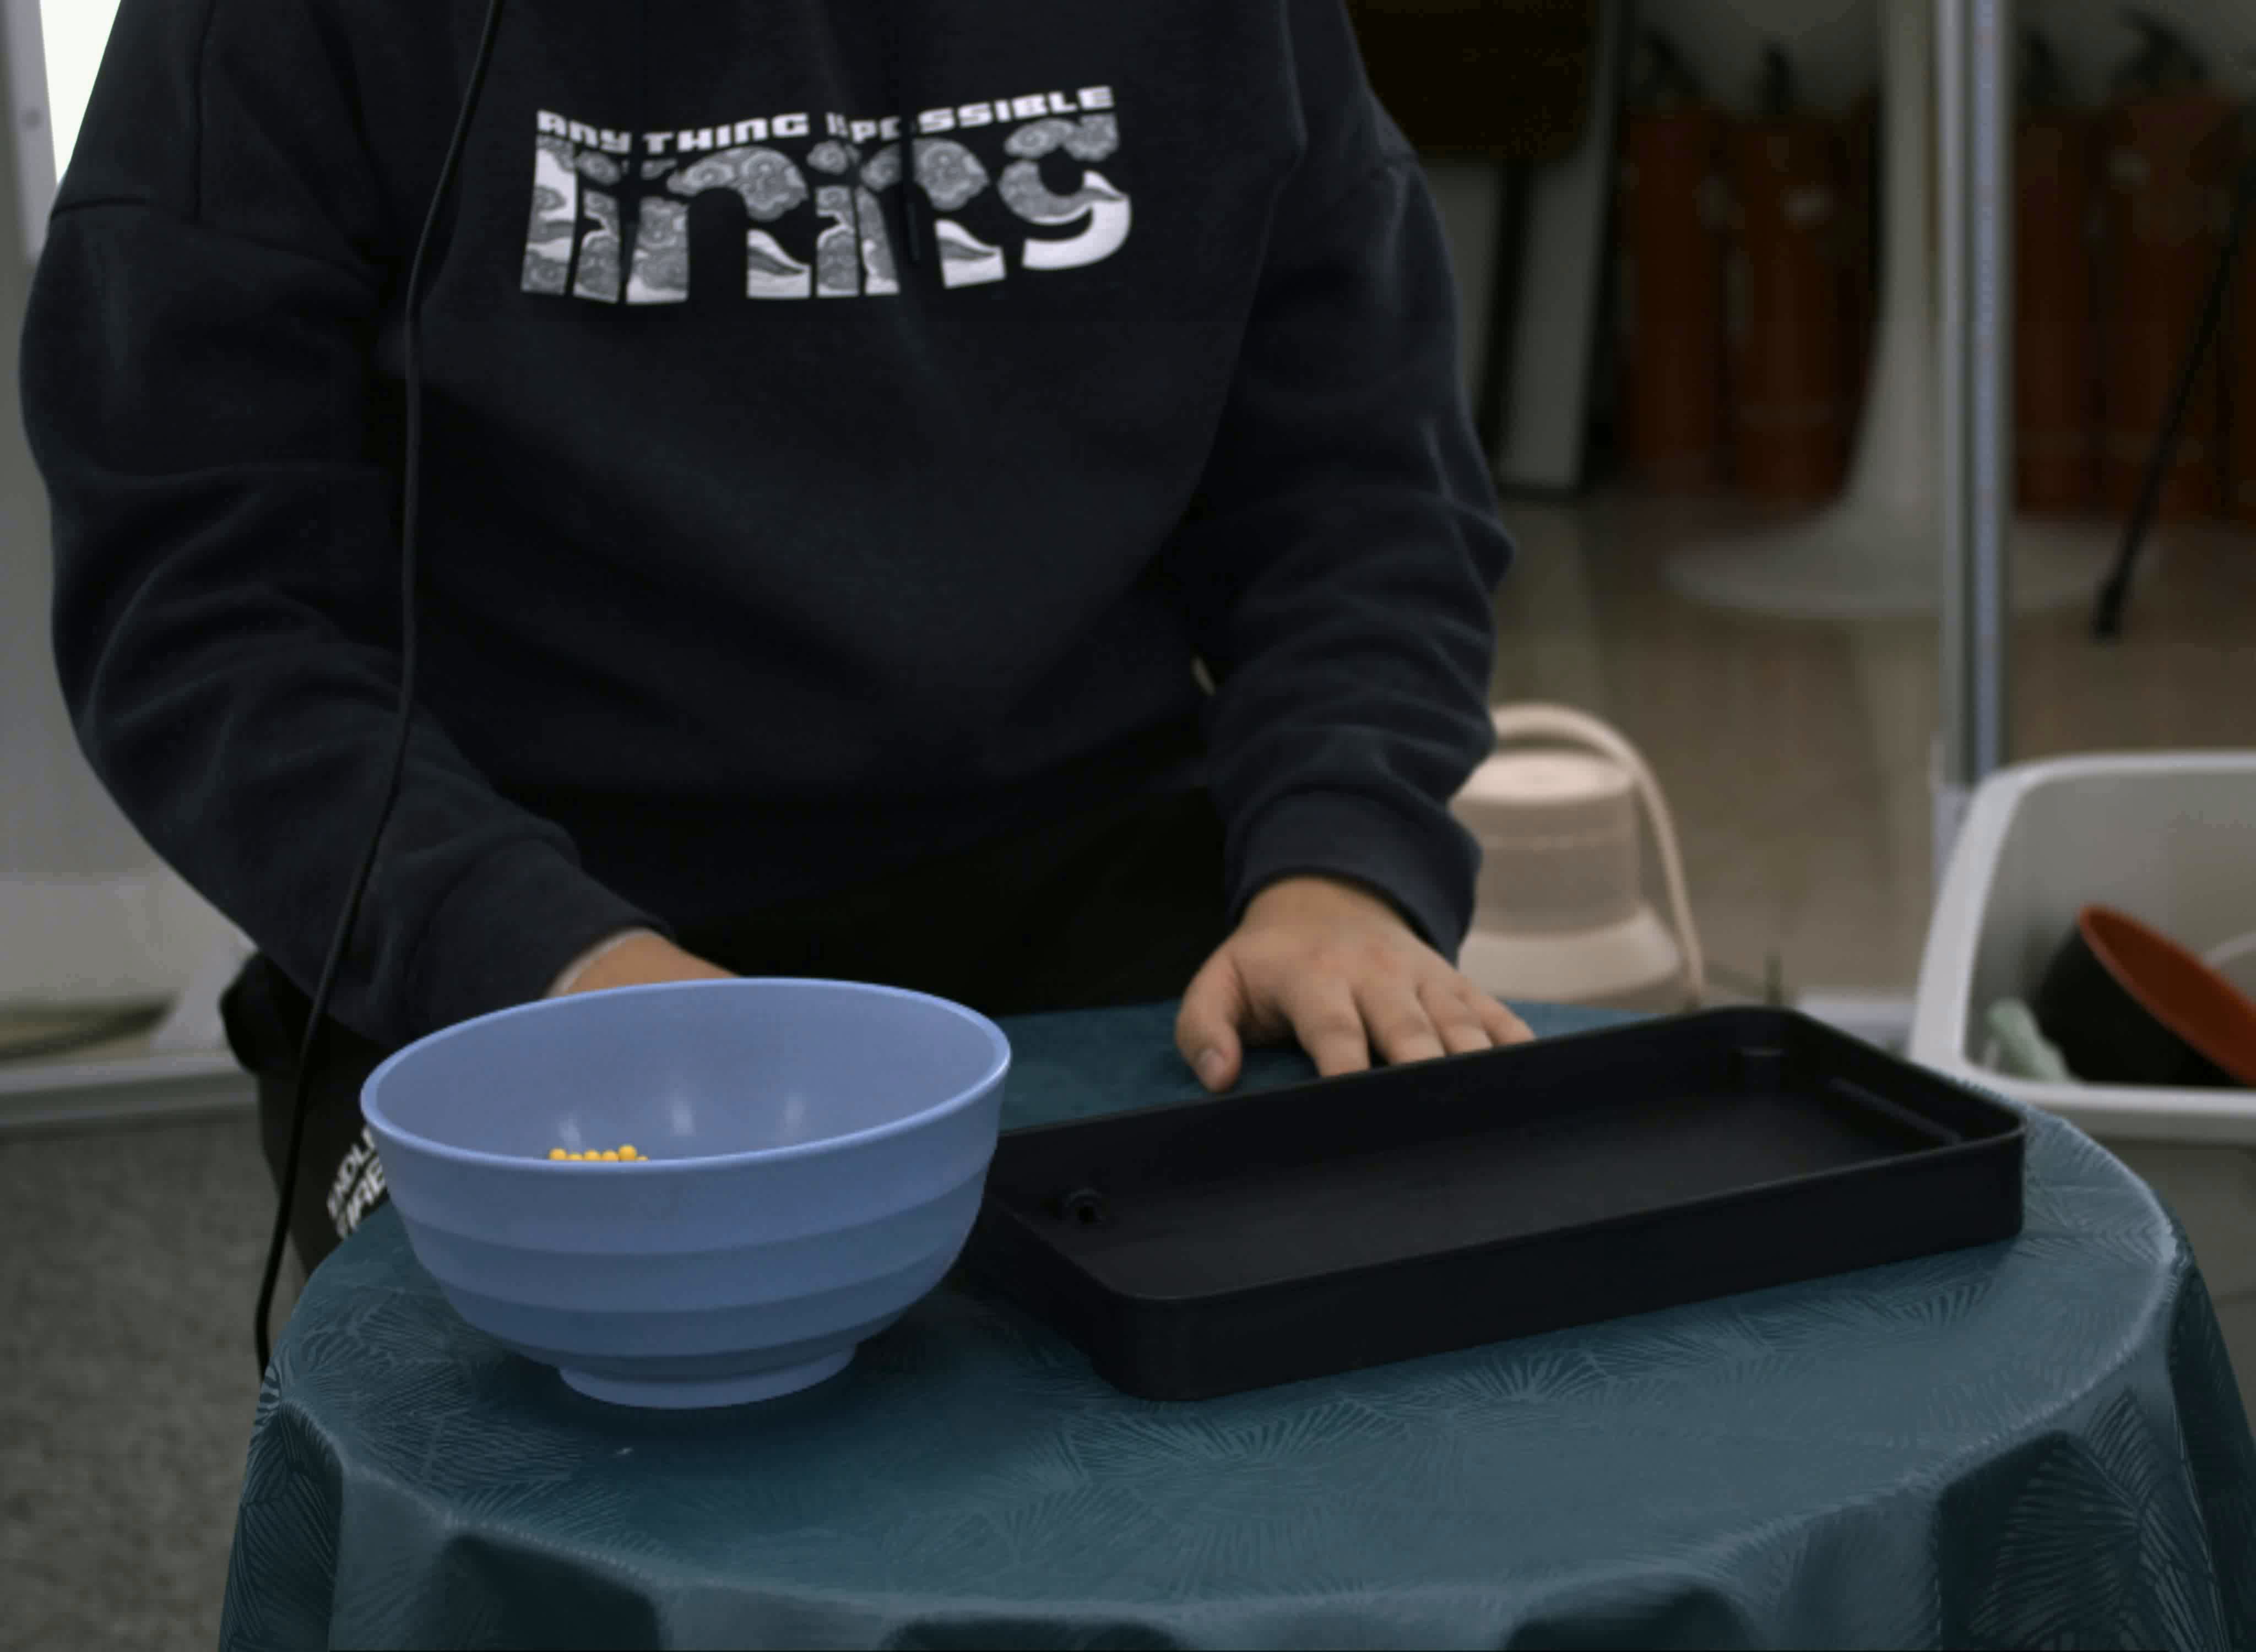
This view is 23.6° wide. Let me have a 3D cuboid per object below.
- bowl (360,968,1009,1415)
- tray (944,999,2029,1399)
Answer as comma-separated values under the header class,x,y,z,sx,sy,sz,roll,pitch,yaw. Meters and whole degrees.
class,x,y,z,sx,sy,sz,roll,pitch,yaw
bowl,-0.129,0.116,1.627,0.194,0.096,0.197,-4,15,0
tray,0.110,0.113,1.696,0.311,0.037,0.186,-9,14,-20
